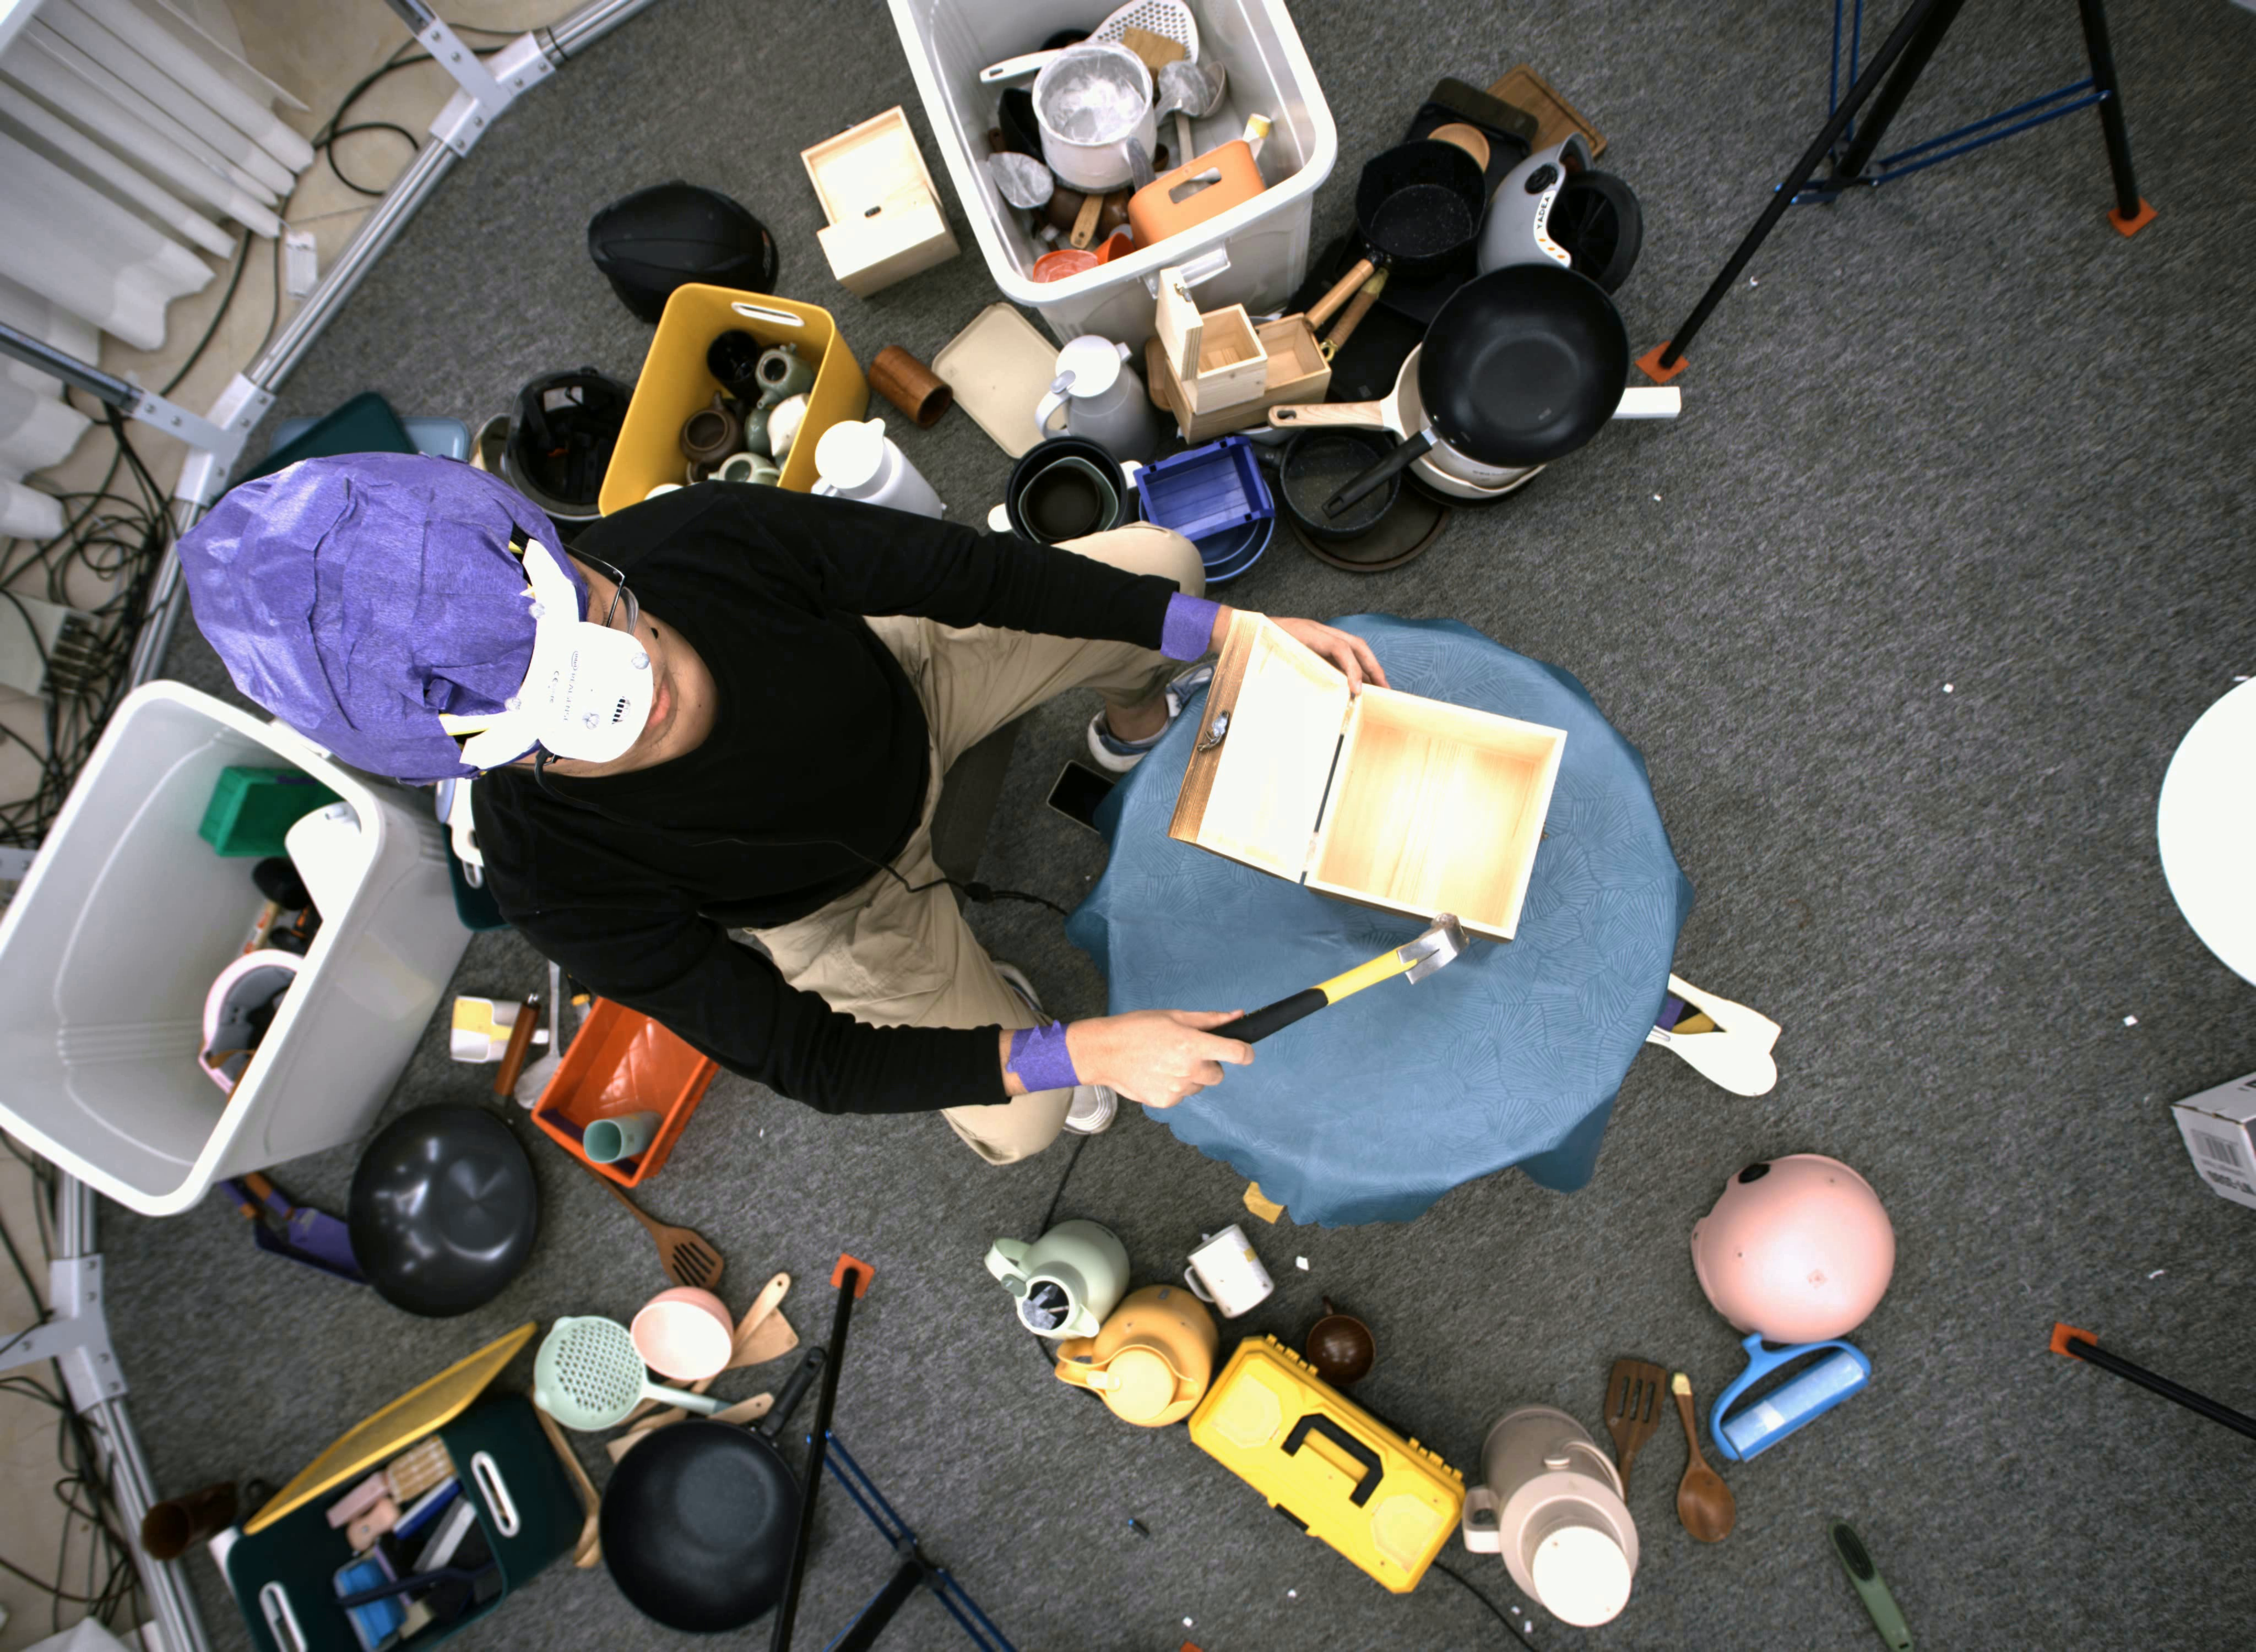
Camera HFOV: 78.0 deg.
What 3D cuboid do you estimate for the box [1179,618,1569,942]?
[{"bbox_3d":[0.236,-0.030,1.289,0.322,0.375,0.208,15,88,11],"label":"box"}]

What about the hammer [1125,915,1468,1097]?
[{"bbox_3d":[0.149,0.167,1.262,0.342,0.130,0.032,-27,87,15],"label":"hammer"}]
